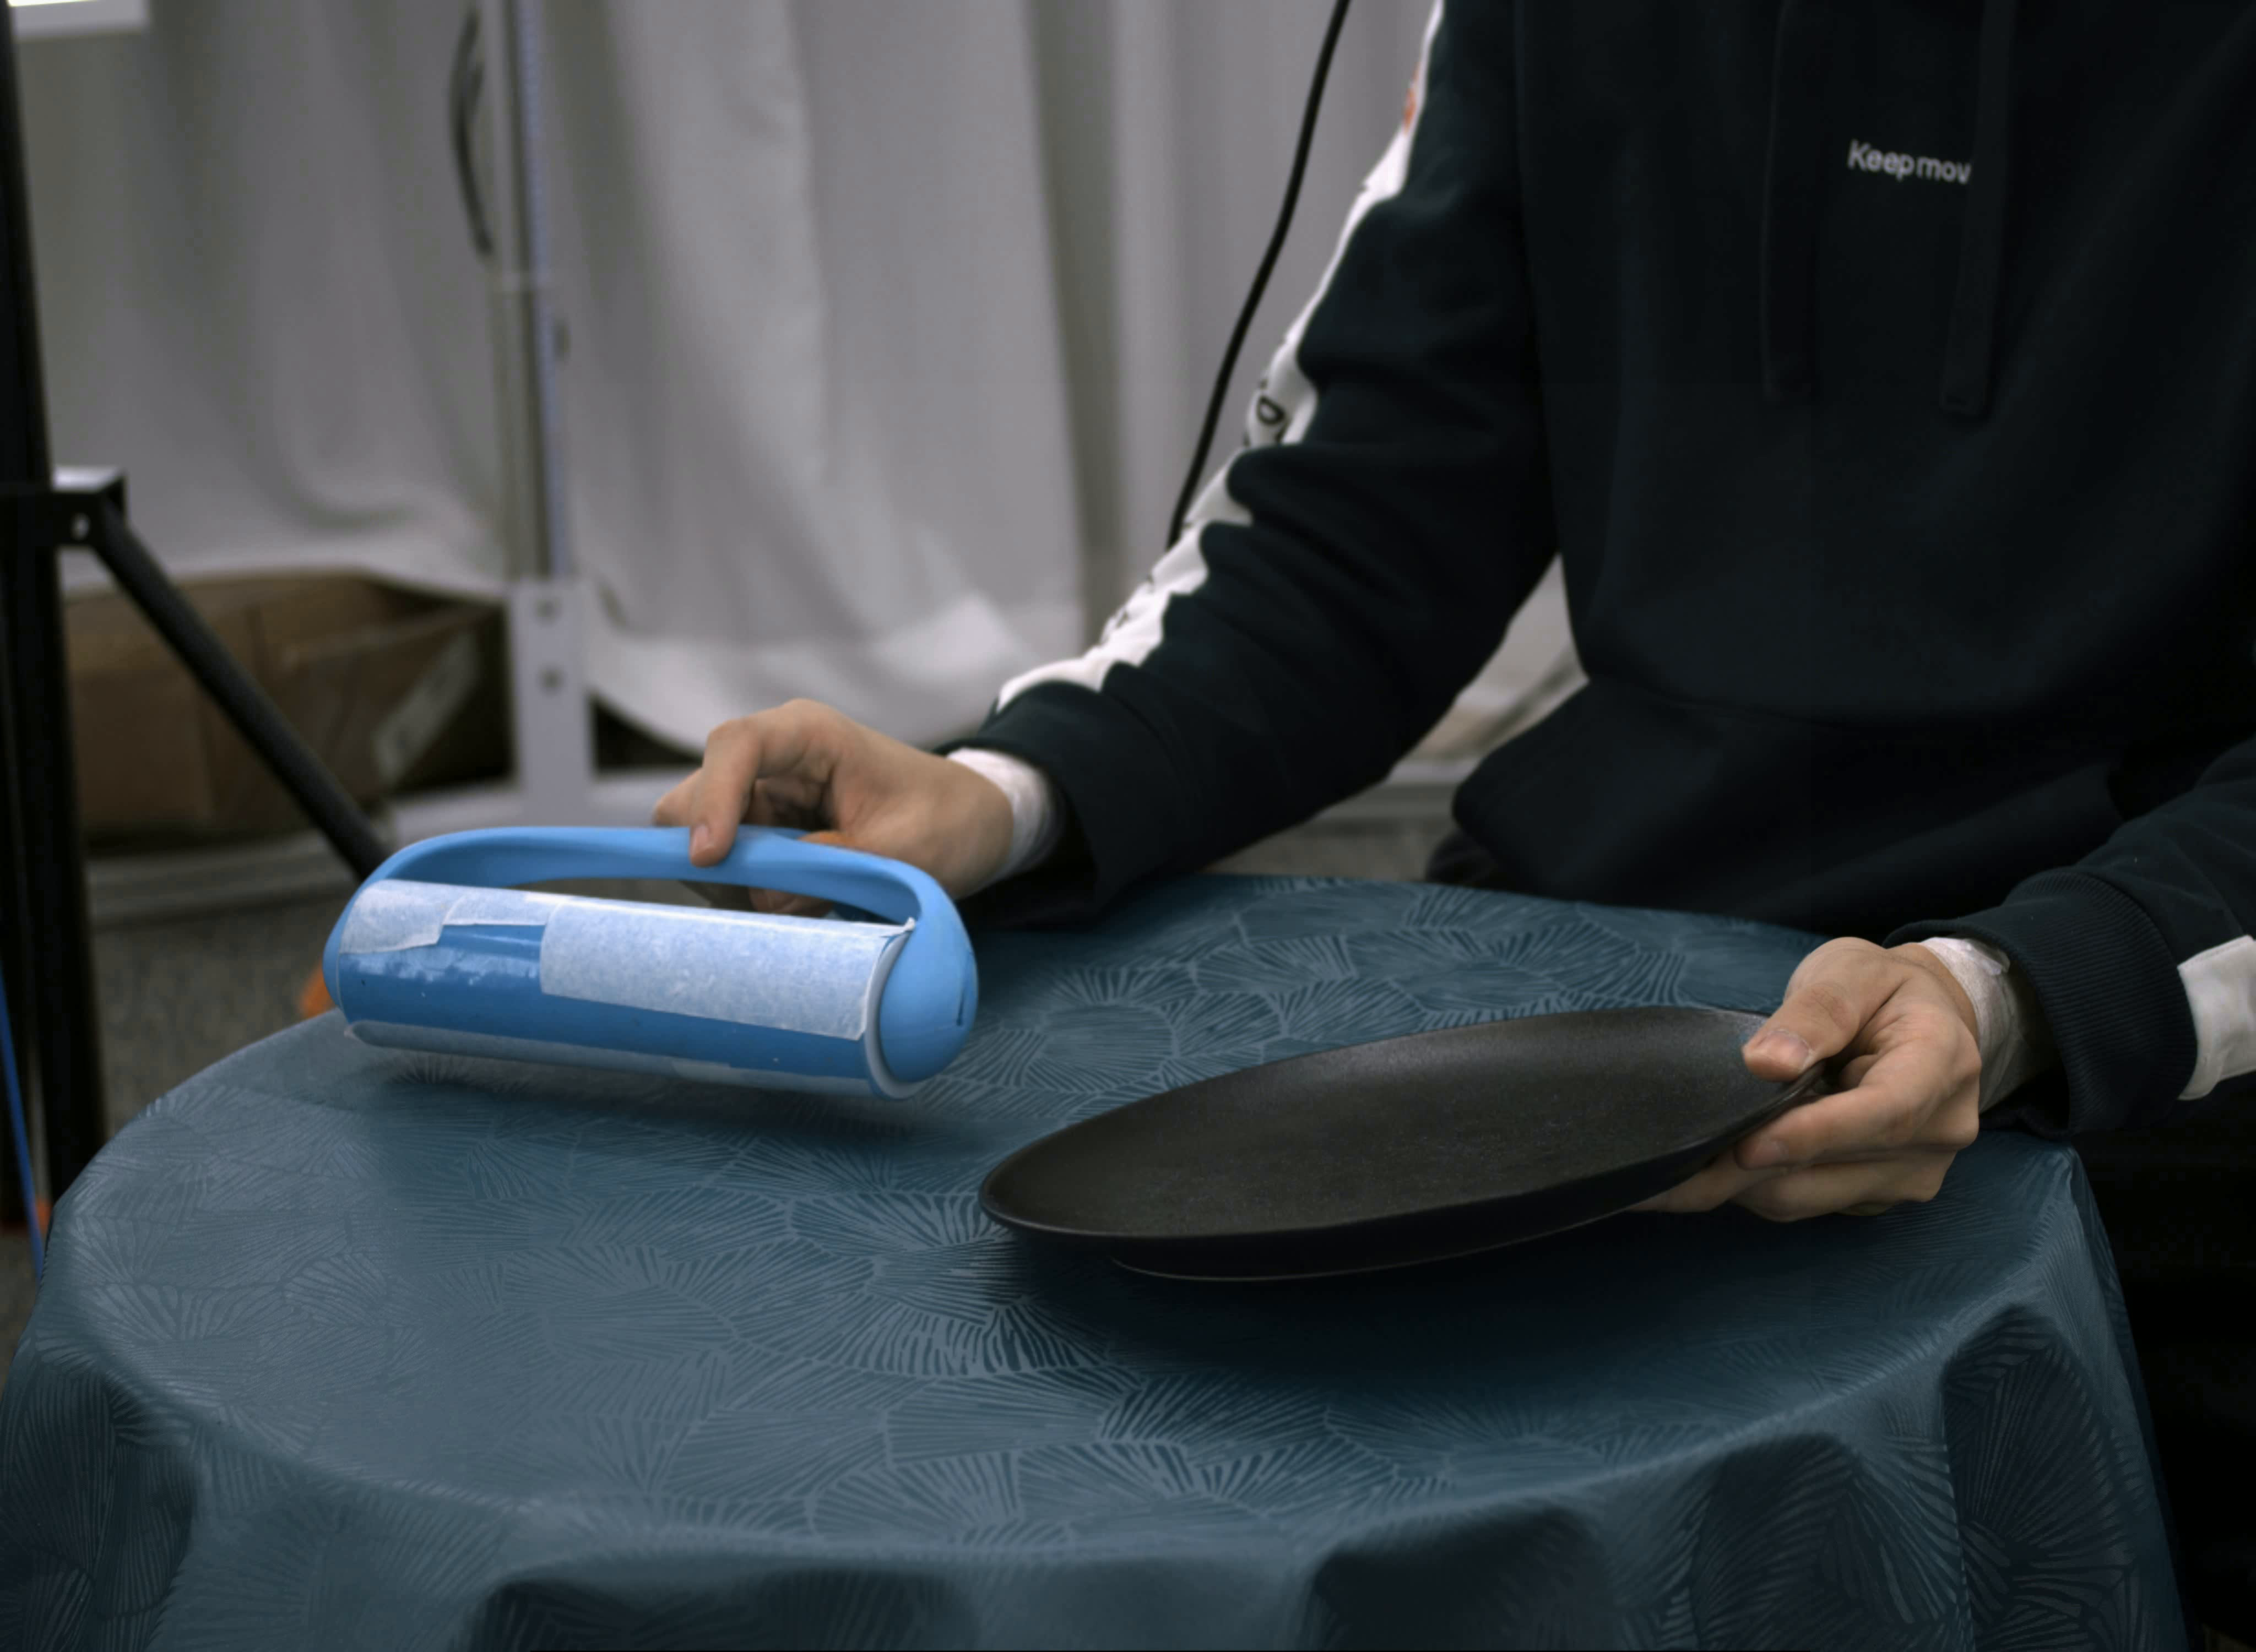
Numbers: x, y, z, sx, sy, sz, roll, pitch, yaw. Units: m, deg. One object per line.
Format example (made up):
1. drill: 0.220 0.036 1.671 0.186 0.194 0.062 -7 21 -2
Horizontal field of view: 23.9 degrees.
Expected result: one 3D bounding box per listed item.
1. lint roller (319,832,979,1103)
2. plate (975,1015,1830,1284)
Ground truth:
1. lint roller: -0.128 0.033 1.703 0.232 0.068 0.177 2 17 25
2. plate: 0.078 0.093 1.492 0.243 0.023 0.245 -10 8 0
